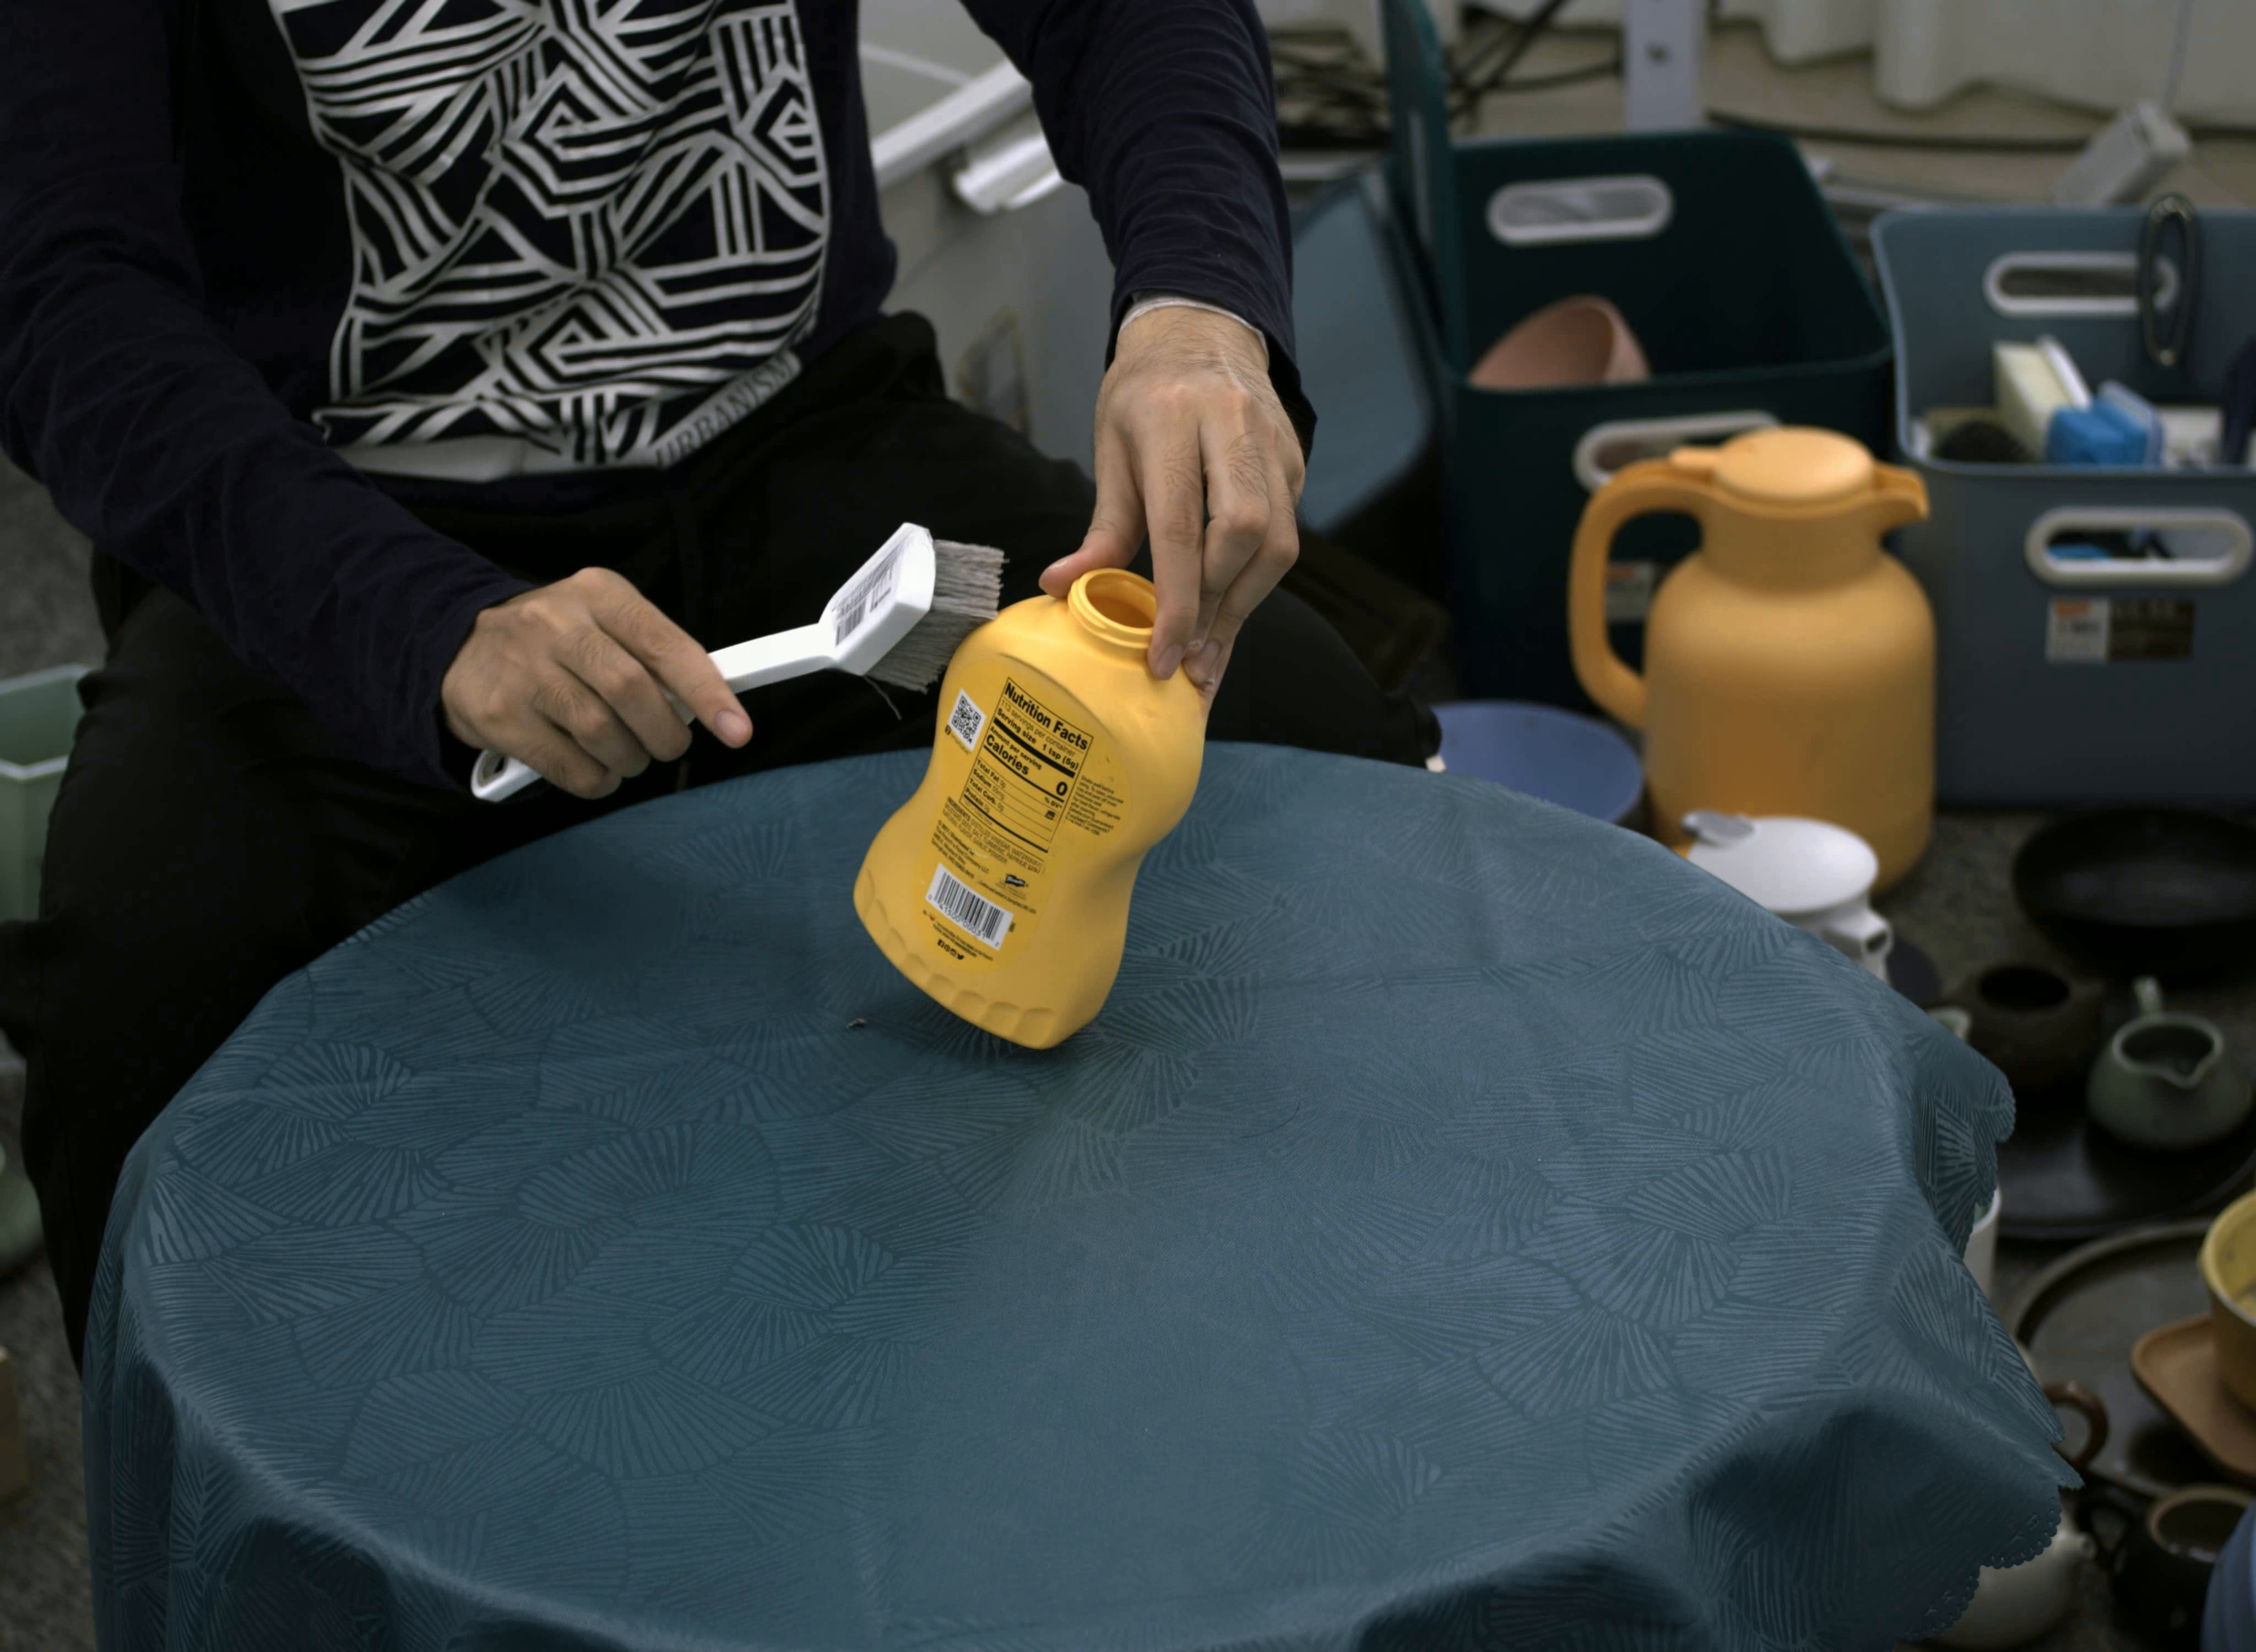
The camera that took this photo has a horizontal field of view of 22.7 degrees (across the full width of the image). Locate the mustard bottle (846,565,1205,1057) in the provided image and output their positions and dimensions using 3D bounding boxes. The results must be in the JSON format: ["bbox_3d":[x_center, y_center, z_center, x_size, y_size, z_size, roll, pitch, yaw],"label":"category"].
[{"bbox_3d":[-0.029,-0.012,1.911,0.098,0.169,0.060,32,32,15],"label":"mustard bottle"}]

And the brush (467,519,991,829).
[{"bbox_3d":[-0.137,-0.044,1.959,0.240,0.050,0.035,-27,54,36],"label":"brush"}]
